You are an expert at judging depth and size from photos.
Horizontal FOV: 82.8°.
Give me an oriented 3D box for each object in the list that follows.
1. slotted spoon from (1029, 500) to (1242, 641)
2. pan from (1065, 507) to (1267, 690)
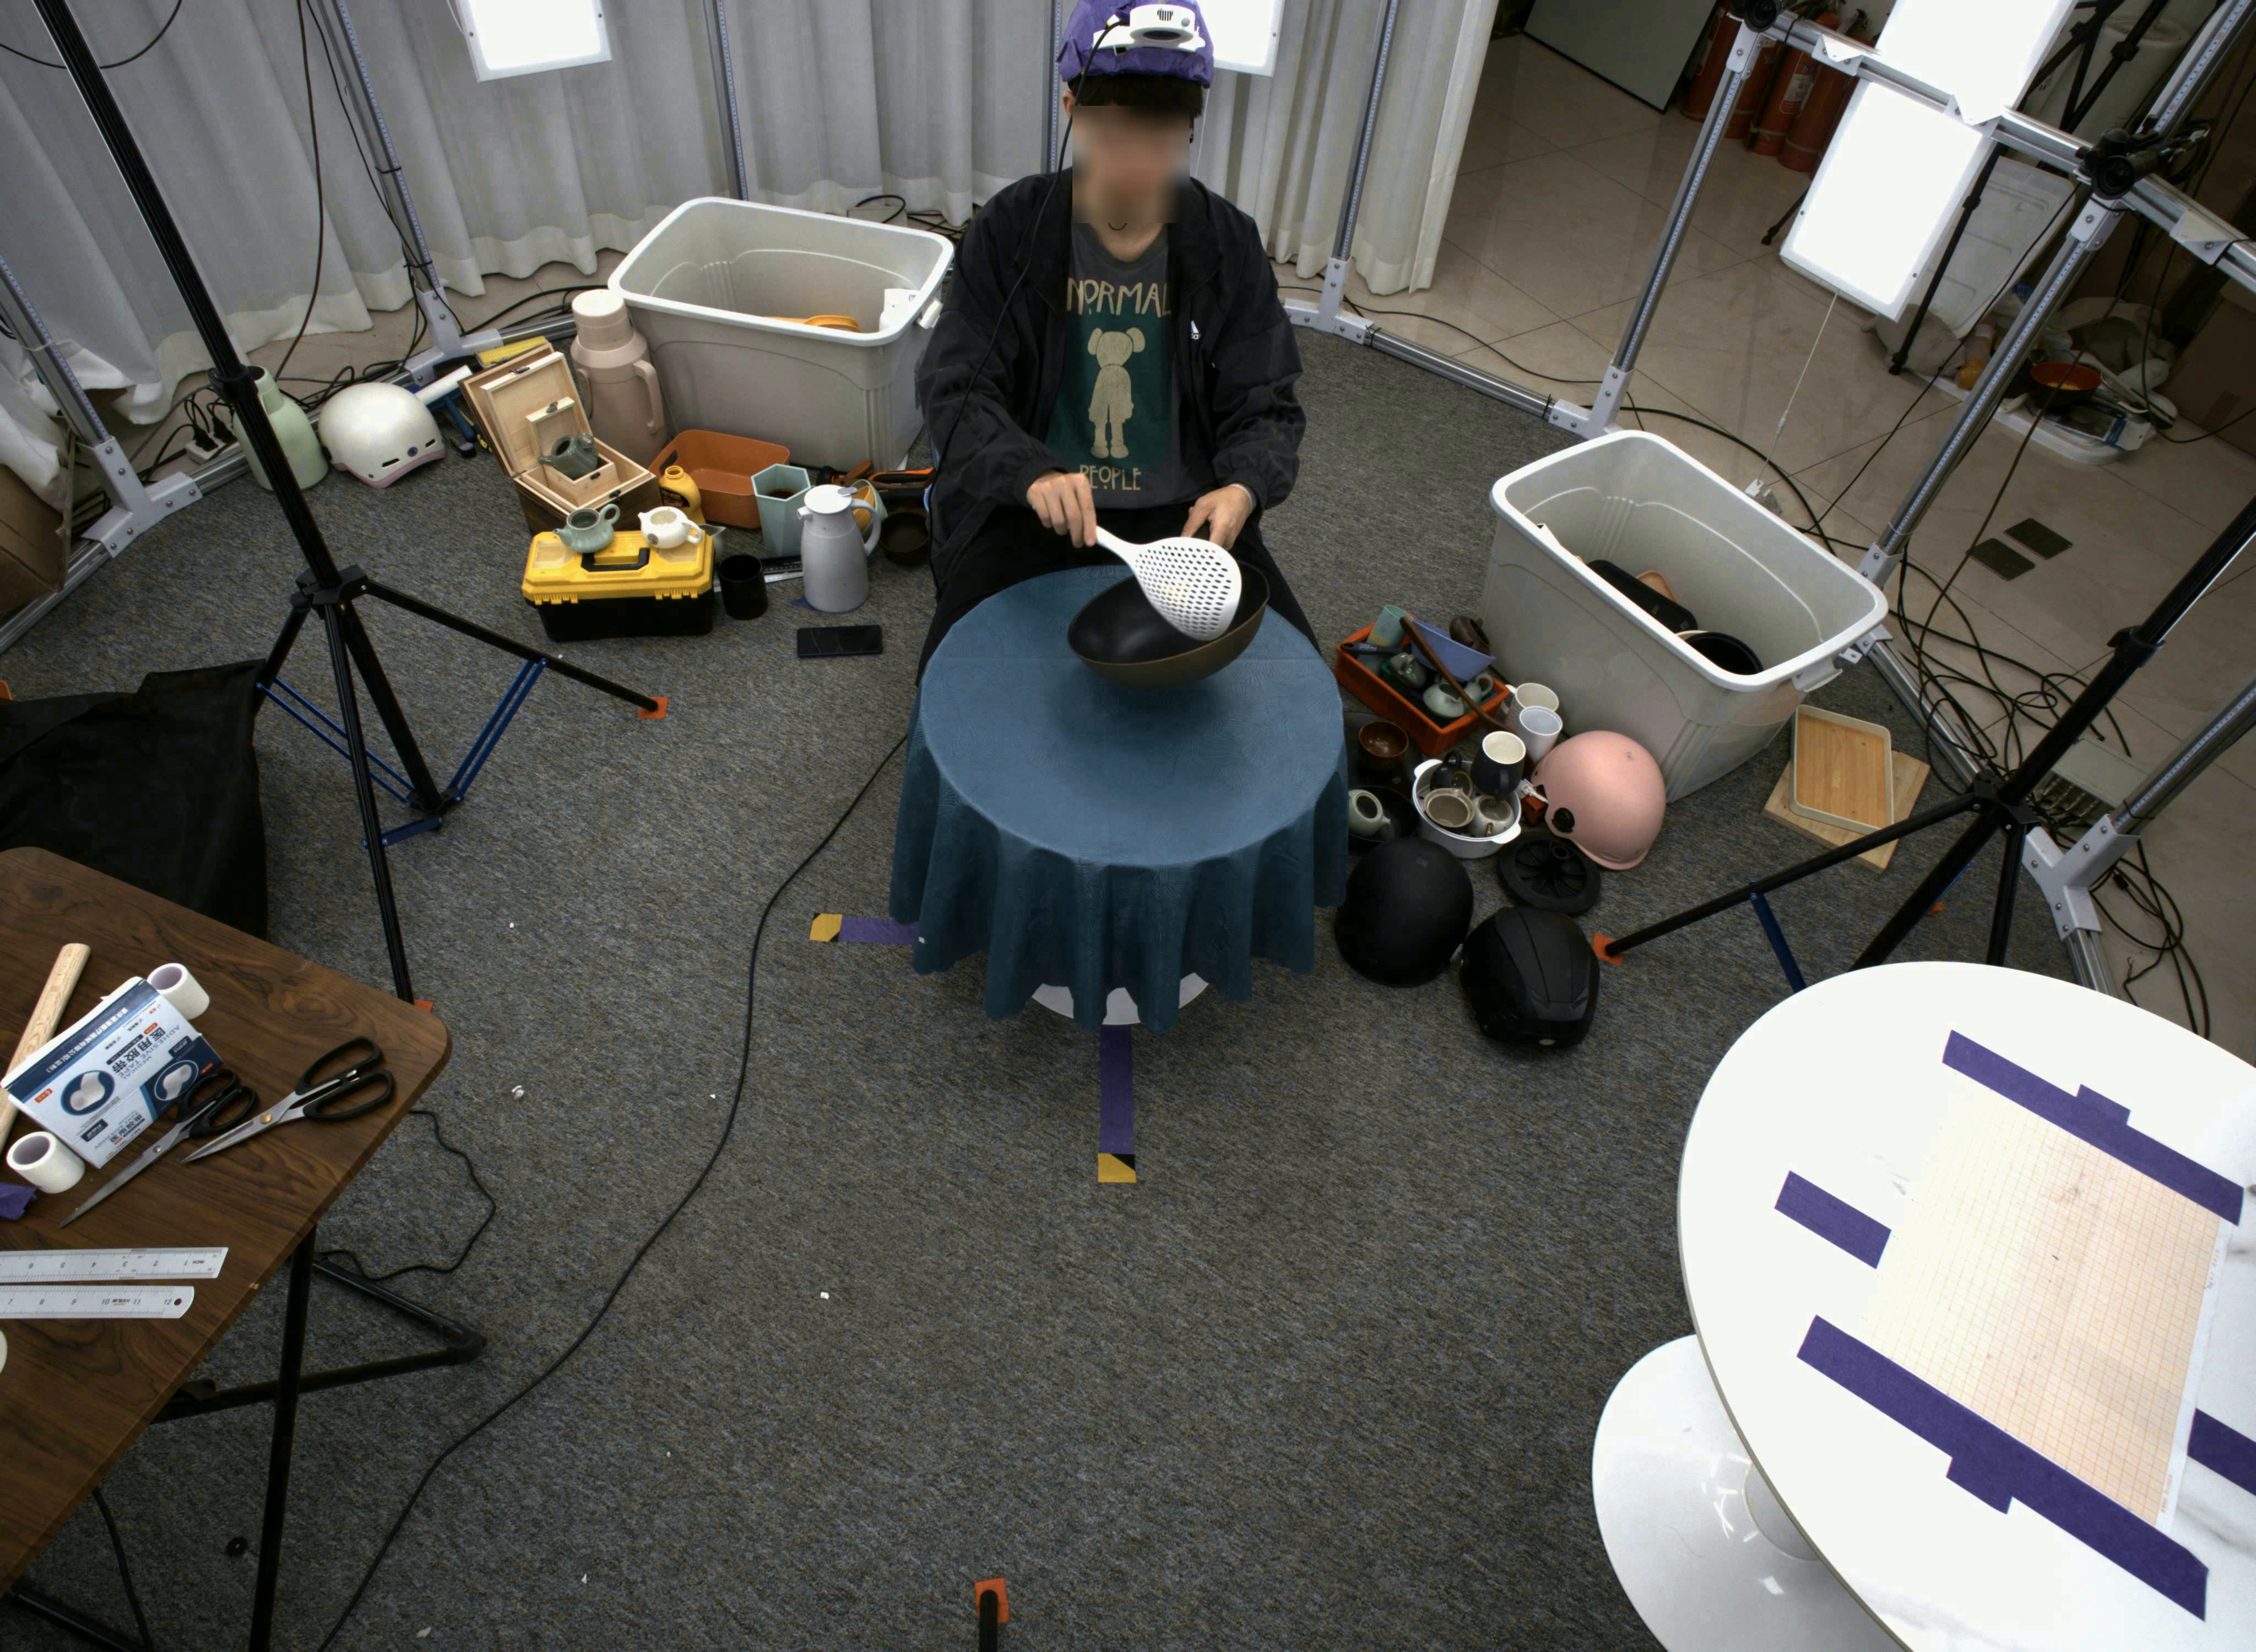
[{"bbox_3d":[0.003,-0.369,1.775,0.353,0.134,0.050,34,33,27],"label":"slotted spoon"},{"bbox_3d":[0.083,-0.322,1.836,0.288,0.085,0.473,-4,36,22],"label":"pan"}]
